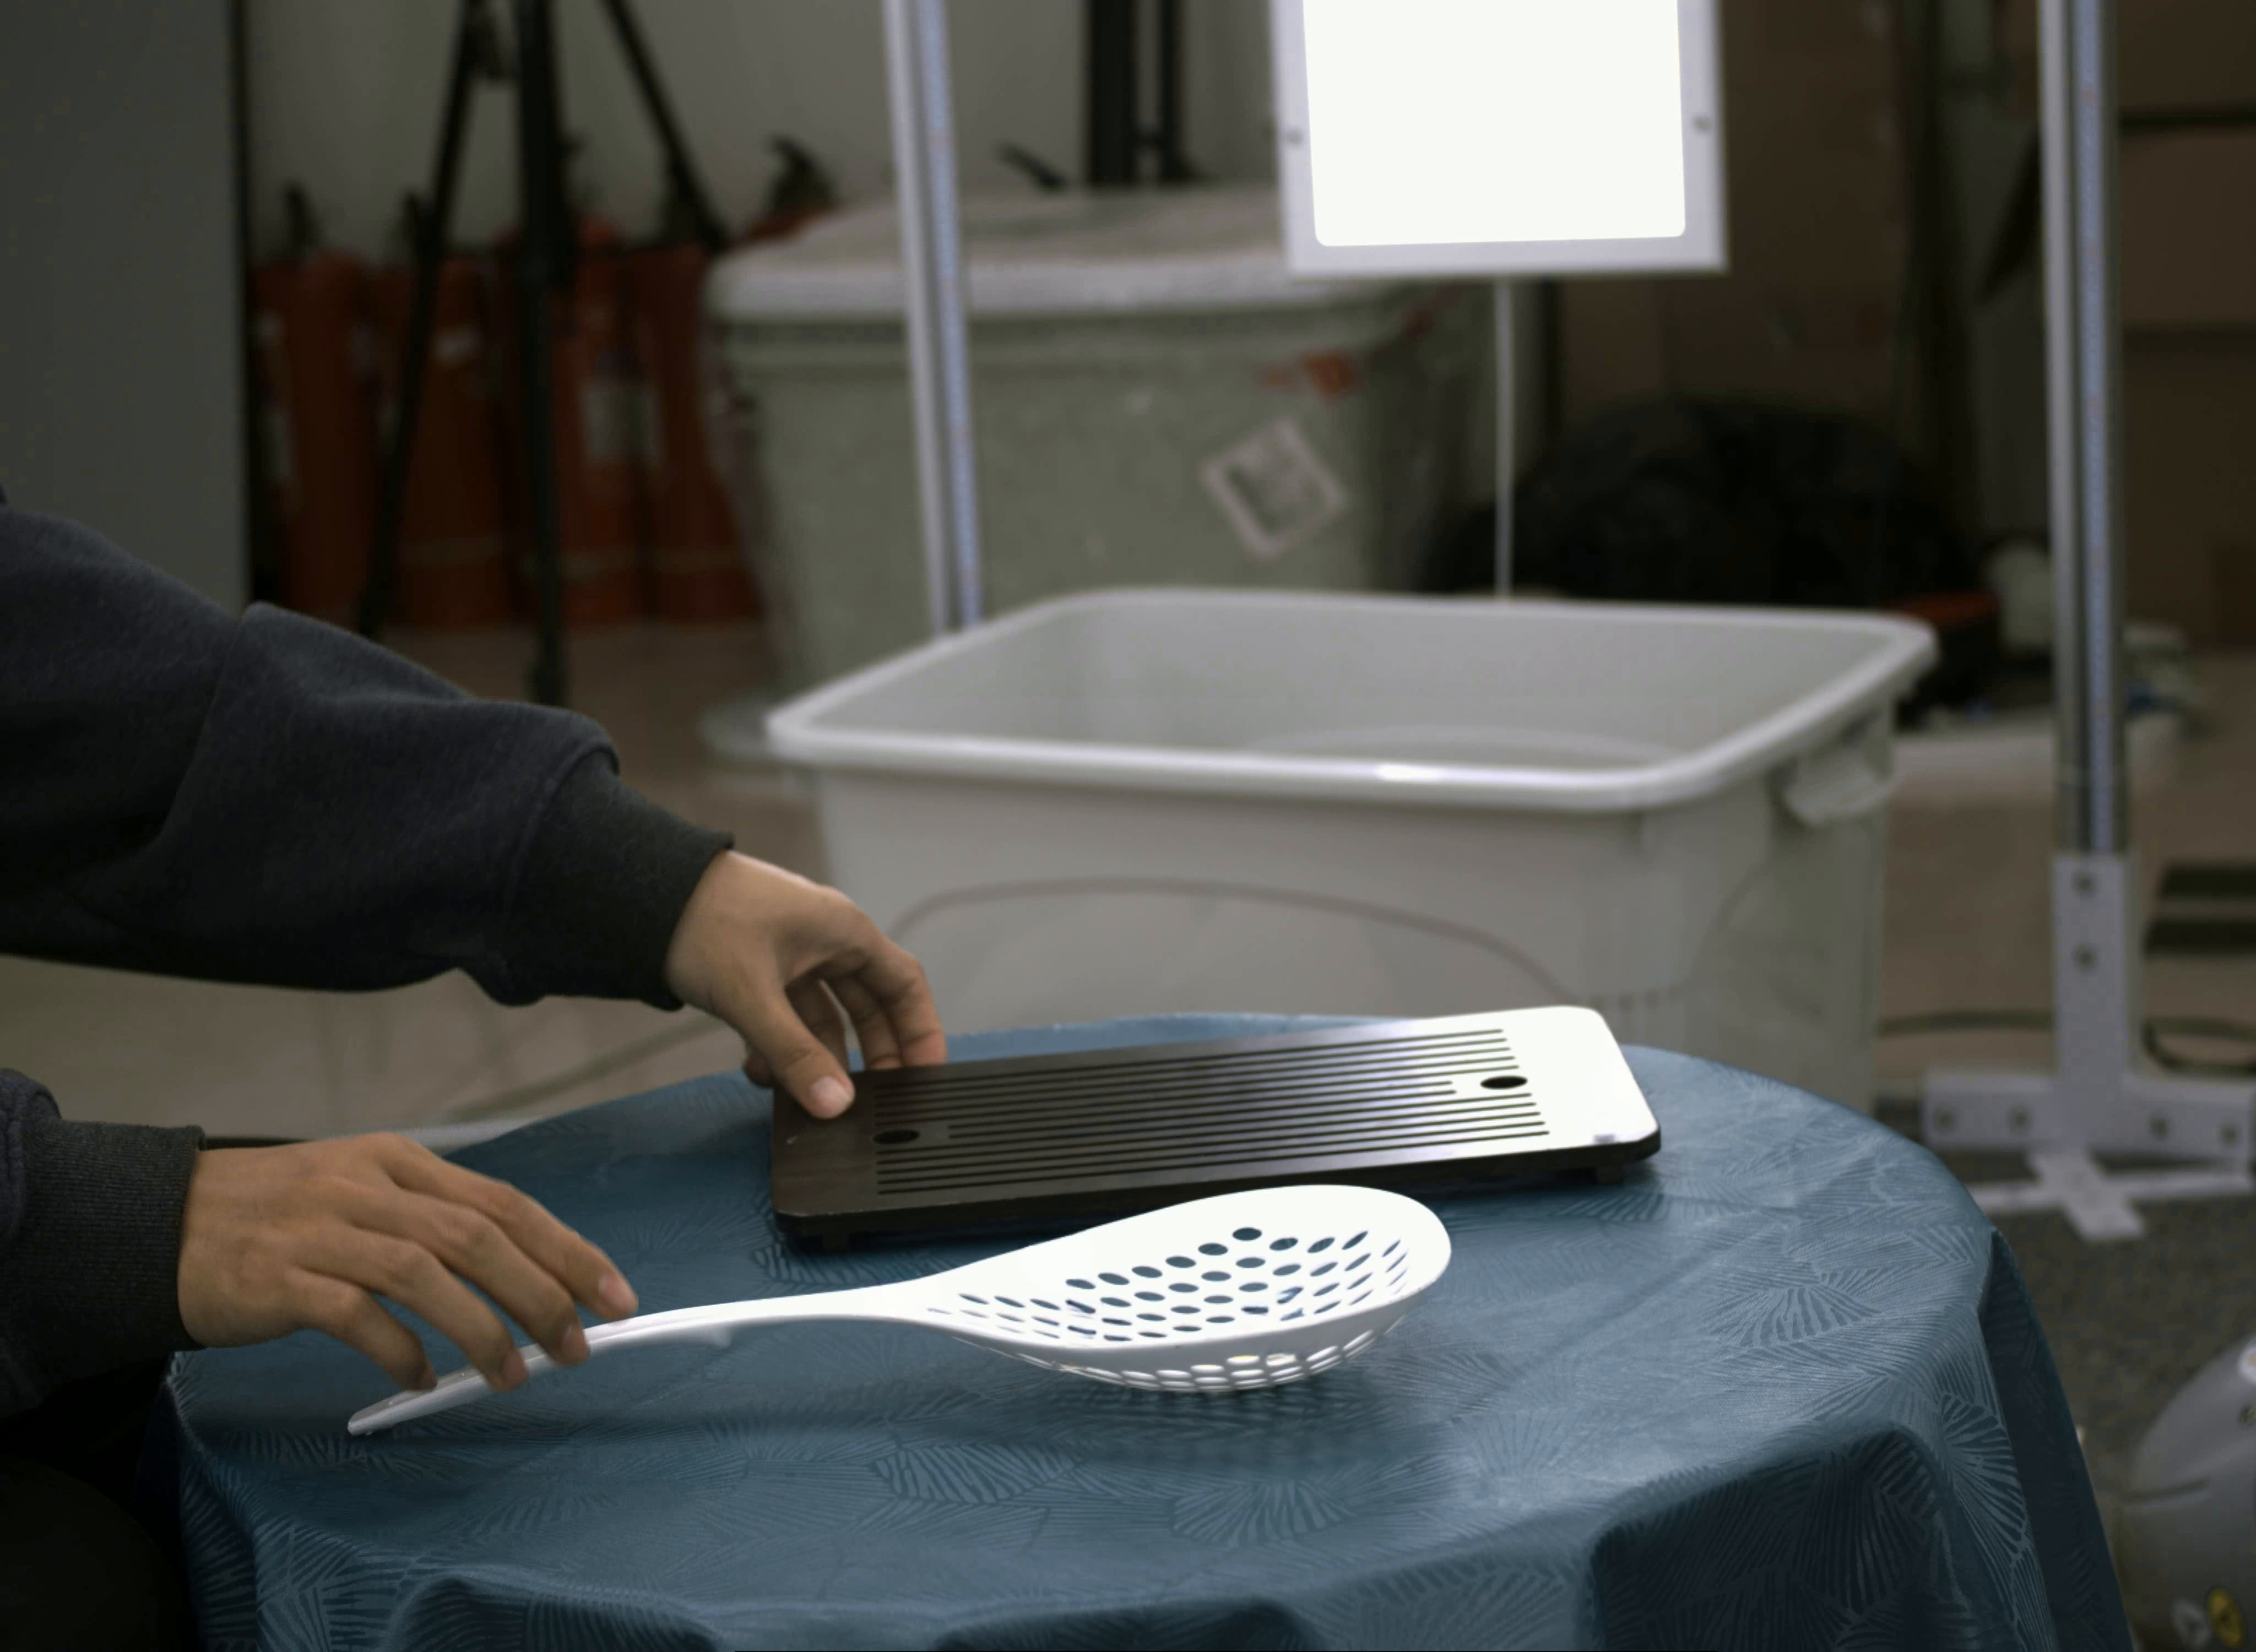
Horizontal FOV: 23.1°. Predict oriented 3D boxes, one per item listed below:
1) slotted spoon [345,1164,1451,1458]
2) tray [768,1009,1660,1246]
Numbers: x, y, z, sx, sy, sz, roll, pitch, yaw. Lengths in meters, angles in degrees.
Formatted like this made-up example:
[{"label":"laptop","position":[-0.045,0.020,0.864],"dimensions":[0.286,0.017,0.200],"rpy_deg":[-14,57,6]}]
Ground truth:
[{"label":"slotted spoon","position":[-0.072,0.158,1.709],"dimensions":[0.348,0.050,0.136],"rpy_deg":[-4,16,3]},{"label":"tray","position":[0.026,0.106,1.936],"dimensions":[0.305,0.019,0.170],"rpy_deg":[-5,14,0]}]
